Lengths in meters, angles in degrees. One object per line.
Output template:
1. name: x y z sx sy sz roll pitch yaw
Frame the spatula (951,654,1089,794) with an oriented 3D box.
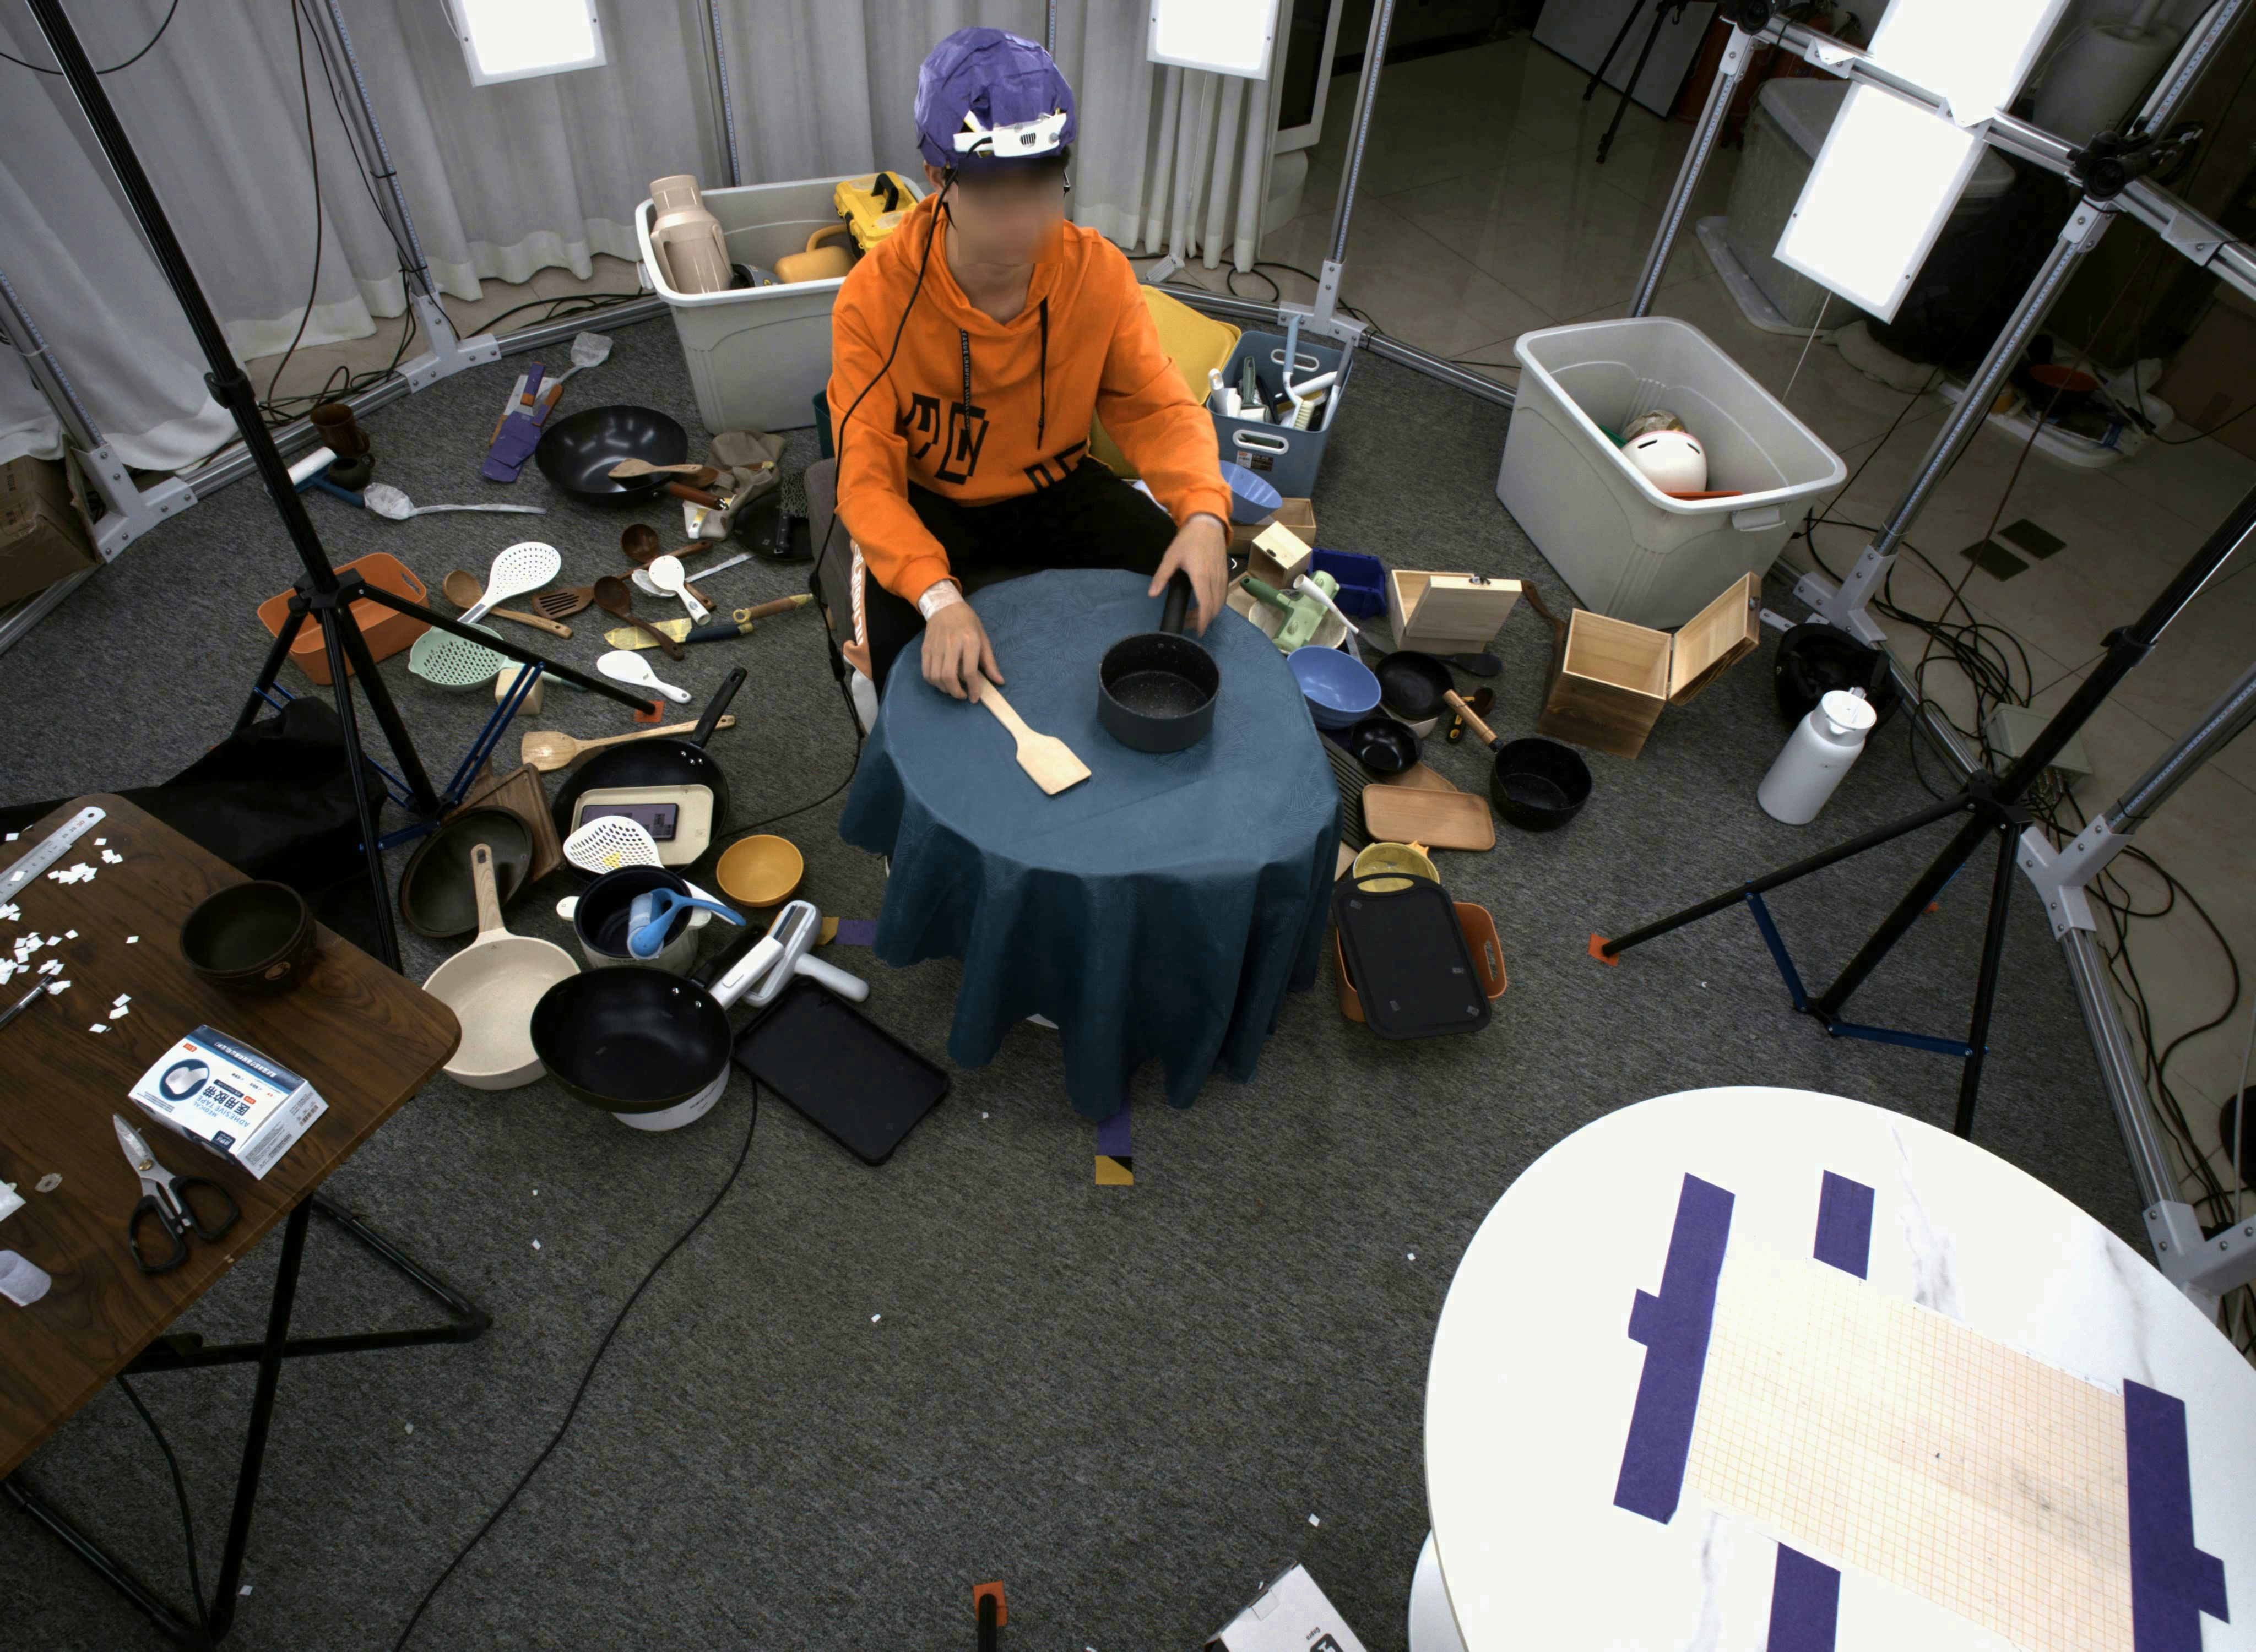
1. spatula: -0.163 -0.149 1.781 0.072 0.010 0.298 -28 57 -21

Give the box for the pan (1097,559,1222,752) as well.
1. pan: 0.059 -0.247 1.833 0.172 0.084 0.336 12 51 5
